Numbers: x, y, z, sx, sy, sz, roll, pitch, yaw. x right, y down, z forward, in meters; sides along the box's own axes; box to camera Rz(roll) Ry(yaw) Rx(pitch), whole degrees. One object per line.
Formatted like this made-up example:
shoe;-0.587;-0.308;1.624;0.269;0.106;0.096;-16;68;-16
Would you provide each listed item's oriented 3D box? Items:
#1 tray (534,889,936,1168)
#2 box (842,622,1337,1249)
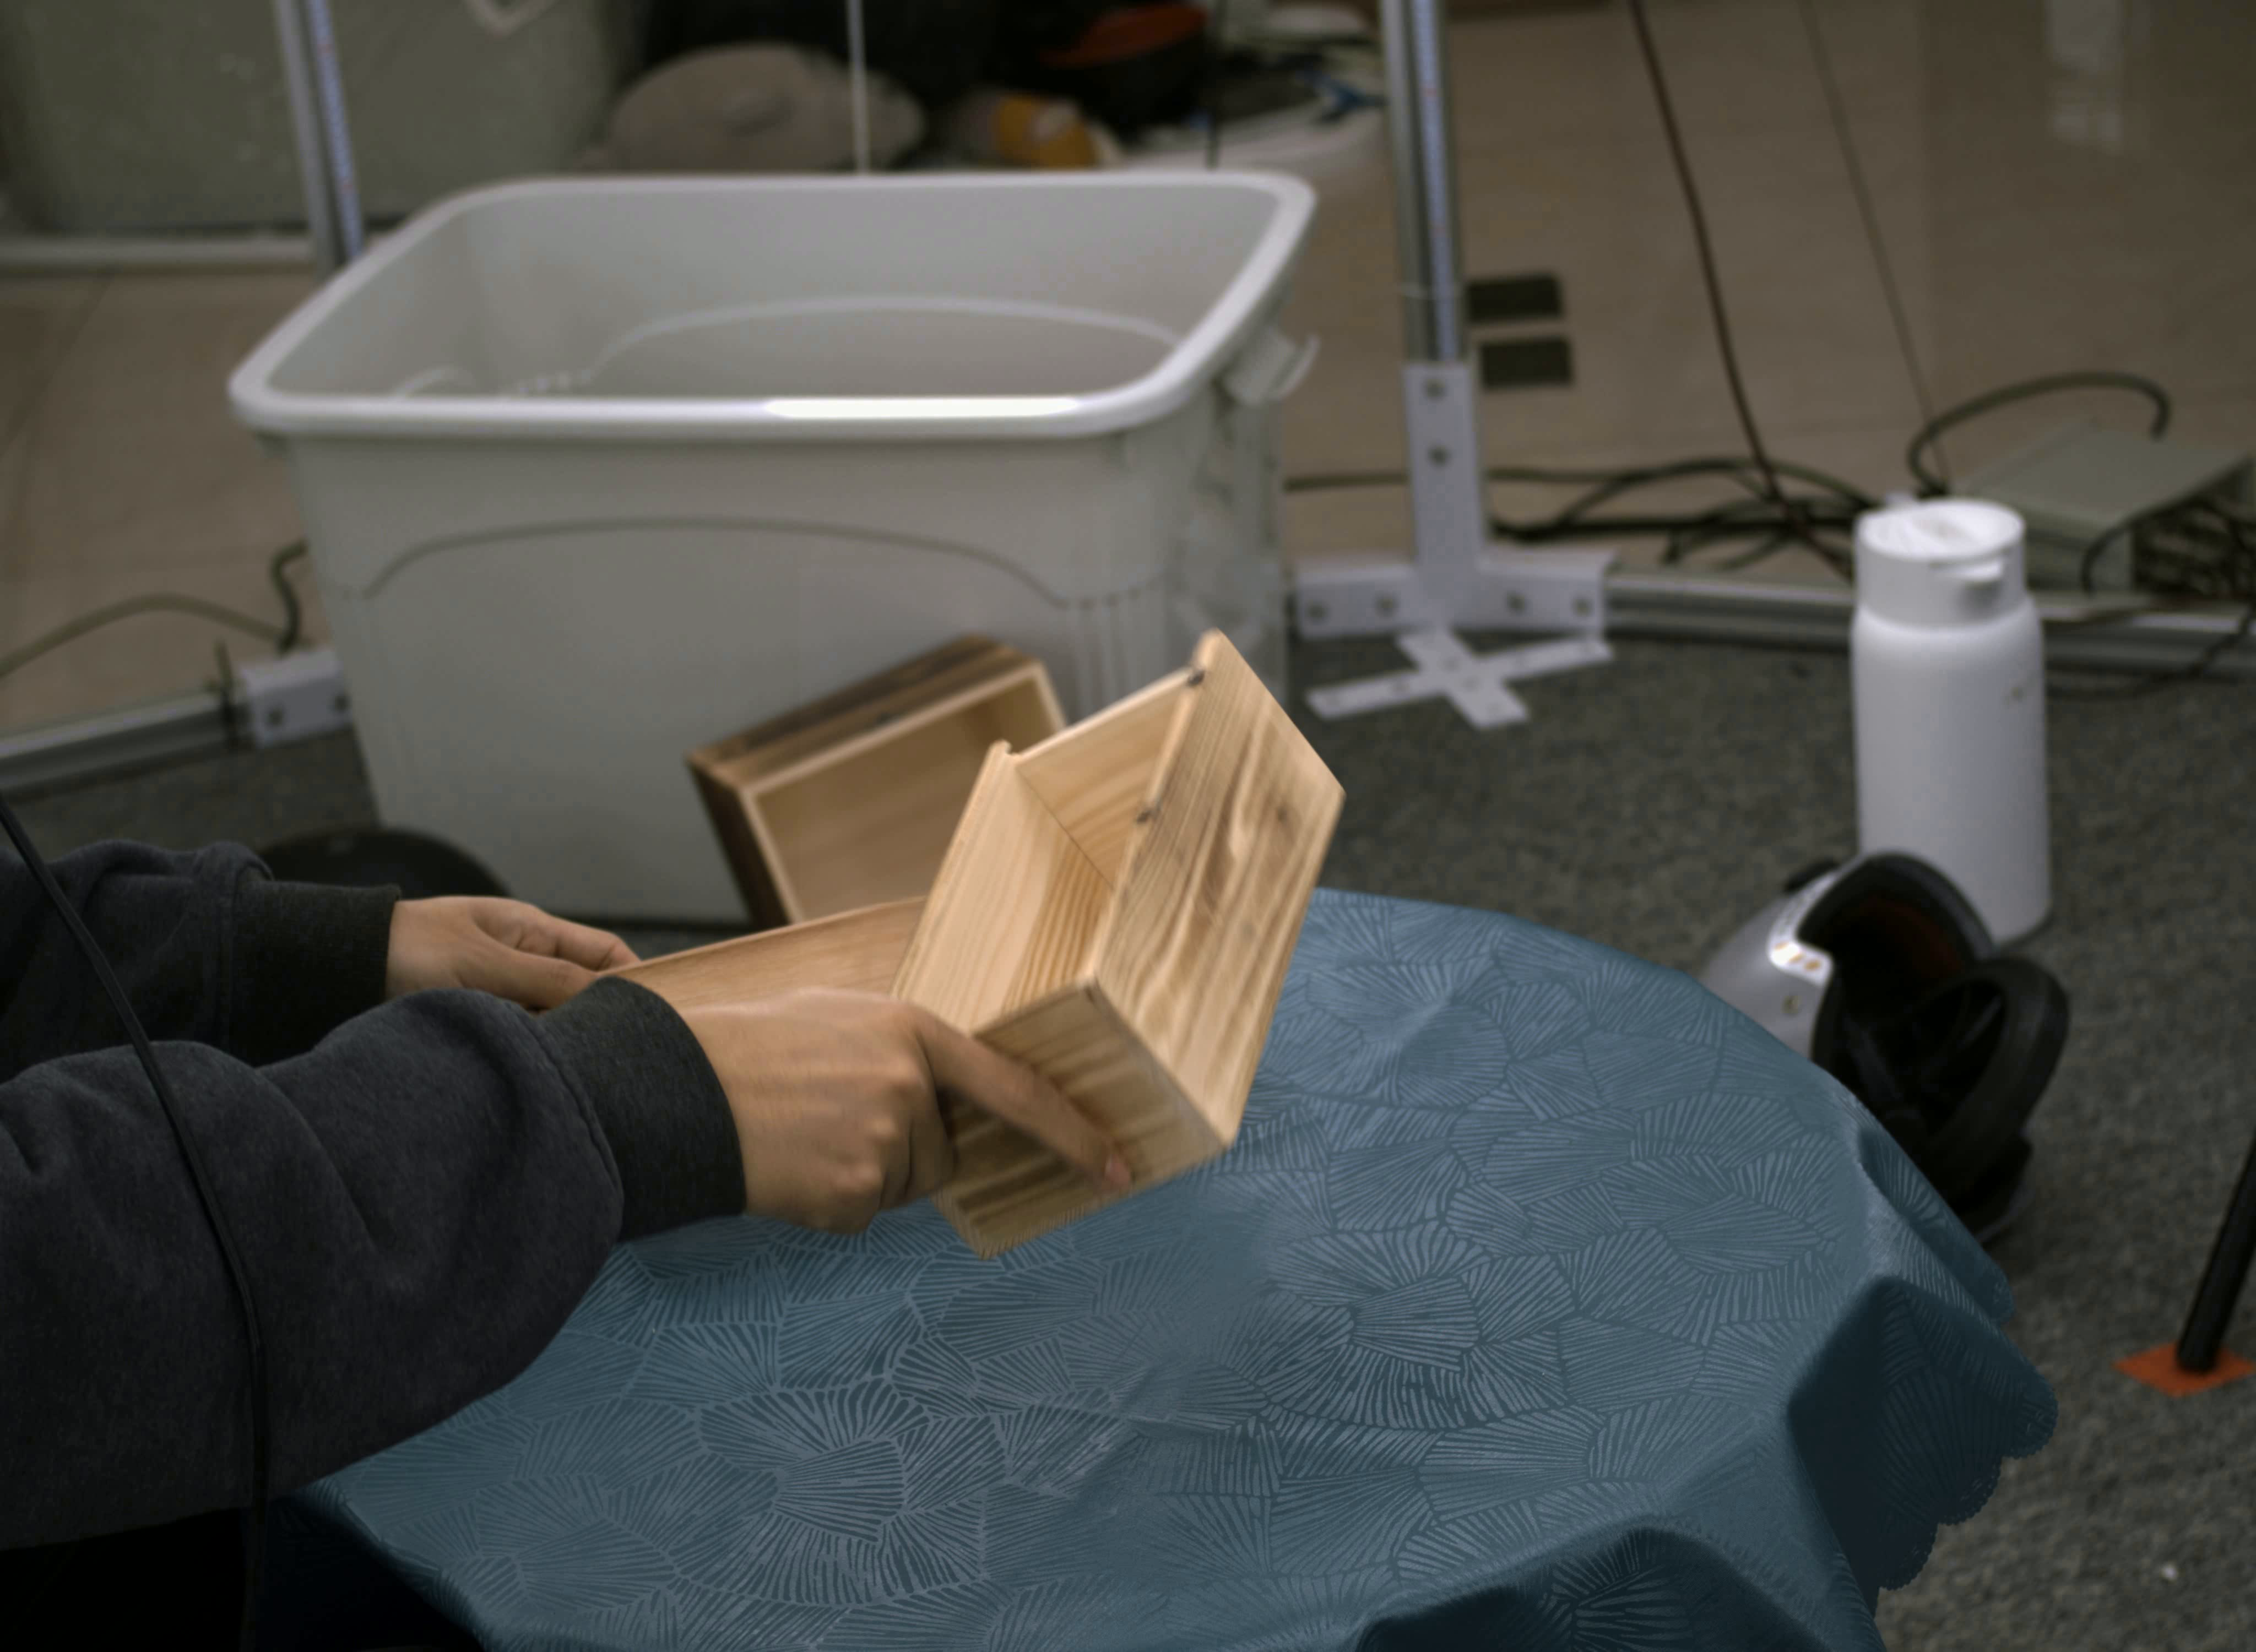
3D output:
tray;-0.097;0.071;2.176;0.250;0.023;0.128;-13;31;-16
box;-0.010;0.036;1.949;0.108;0.081;0.208;-28;24;29
